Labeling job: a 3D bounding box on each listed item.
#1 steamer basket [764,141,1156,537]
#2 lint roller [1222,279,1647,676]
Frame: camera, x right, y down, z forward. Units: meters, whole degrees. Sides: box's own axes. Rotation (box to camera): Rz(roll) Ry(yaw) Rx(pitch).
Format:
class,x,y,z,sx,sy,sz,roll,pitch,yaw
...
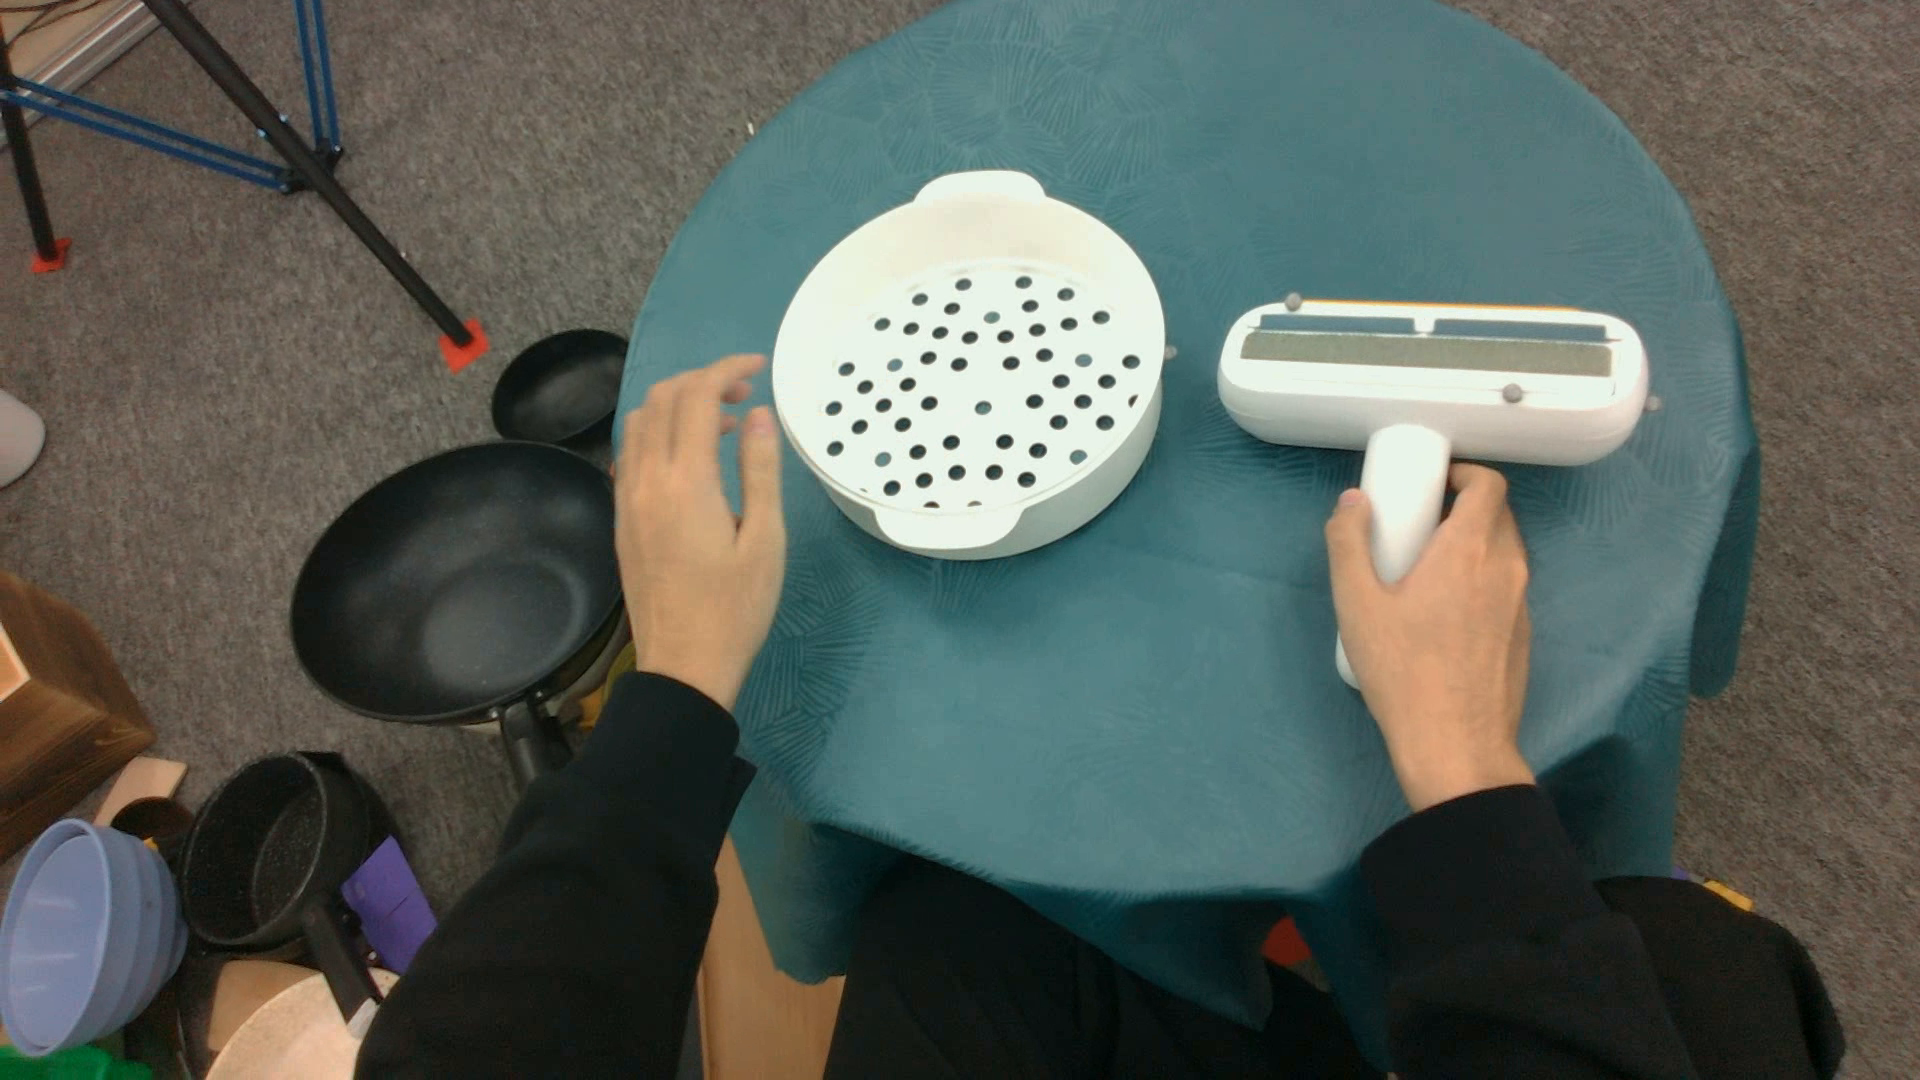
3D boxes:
class,x,y,z,sx,sy,sz,roll,pitch,yaw
steamer basket,0.002,-0.099,0.722,0.201,0.069,0.231,-1,66,12
lint roller,0.205,-0.031,0.648,0.192,0.074,0.193,12,68,22
